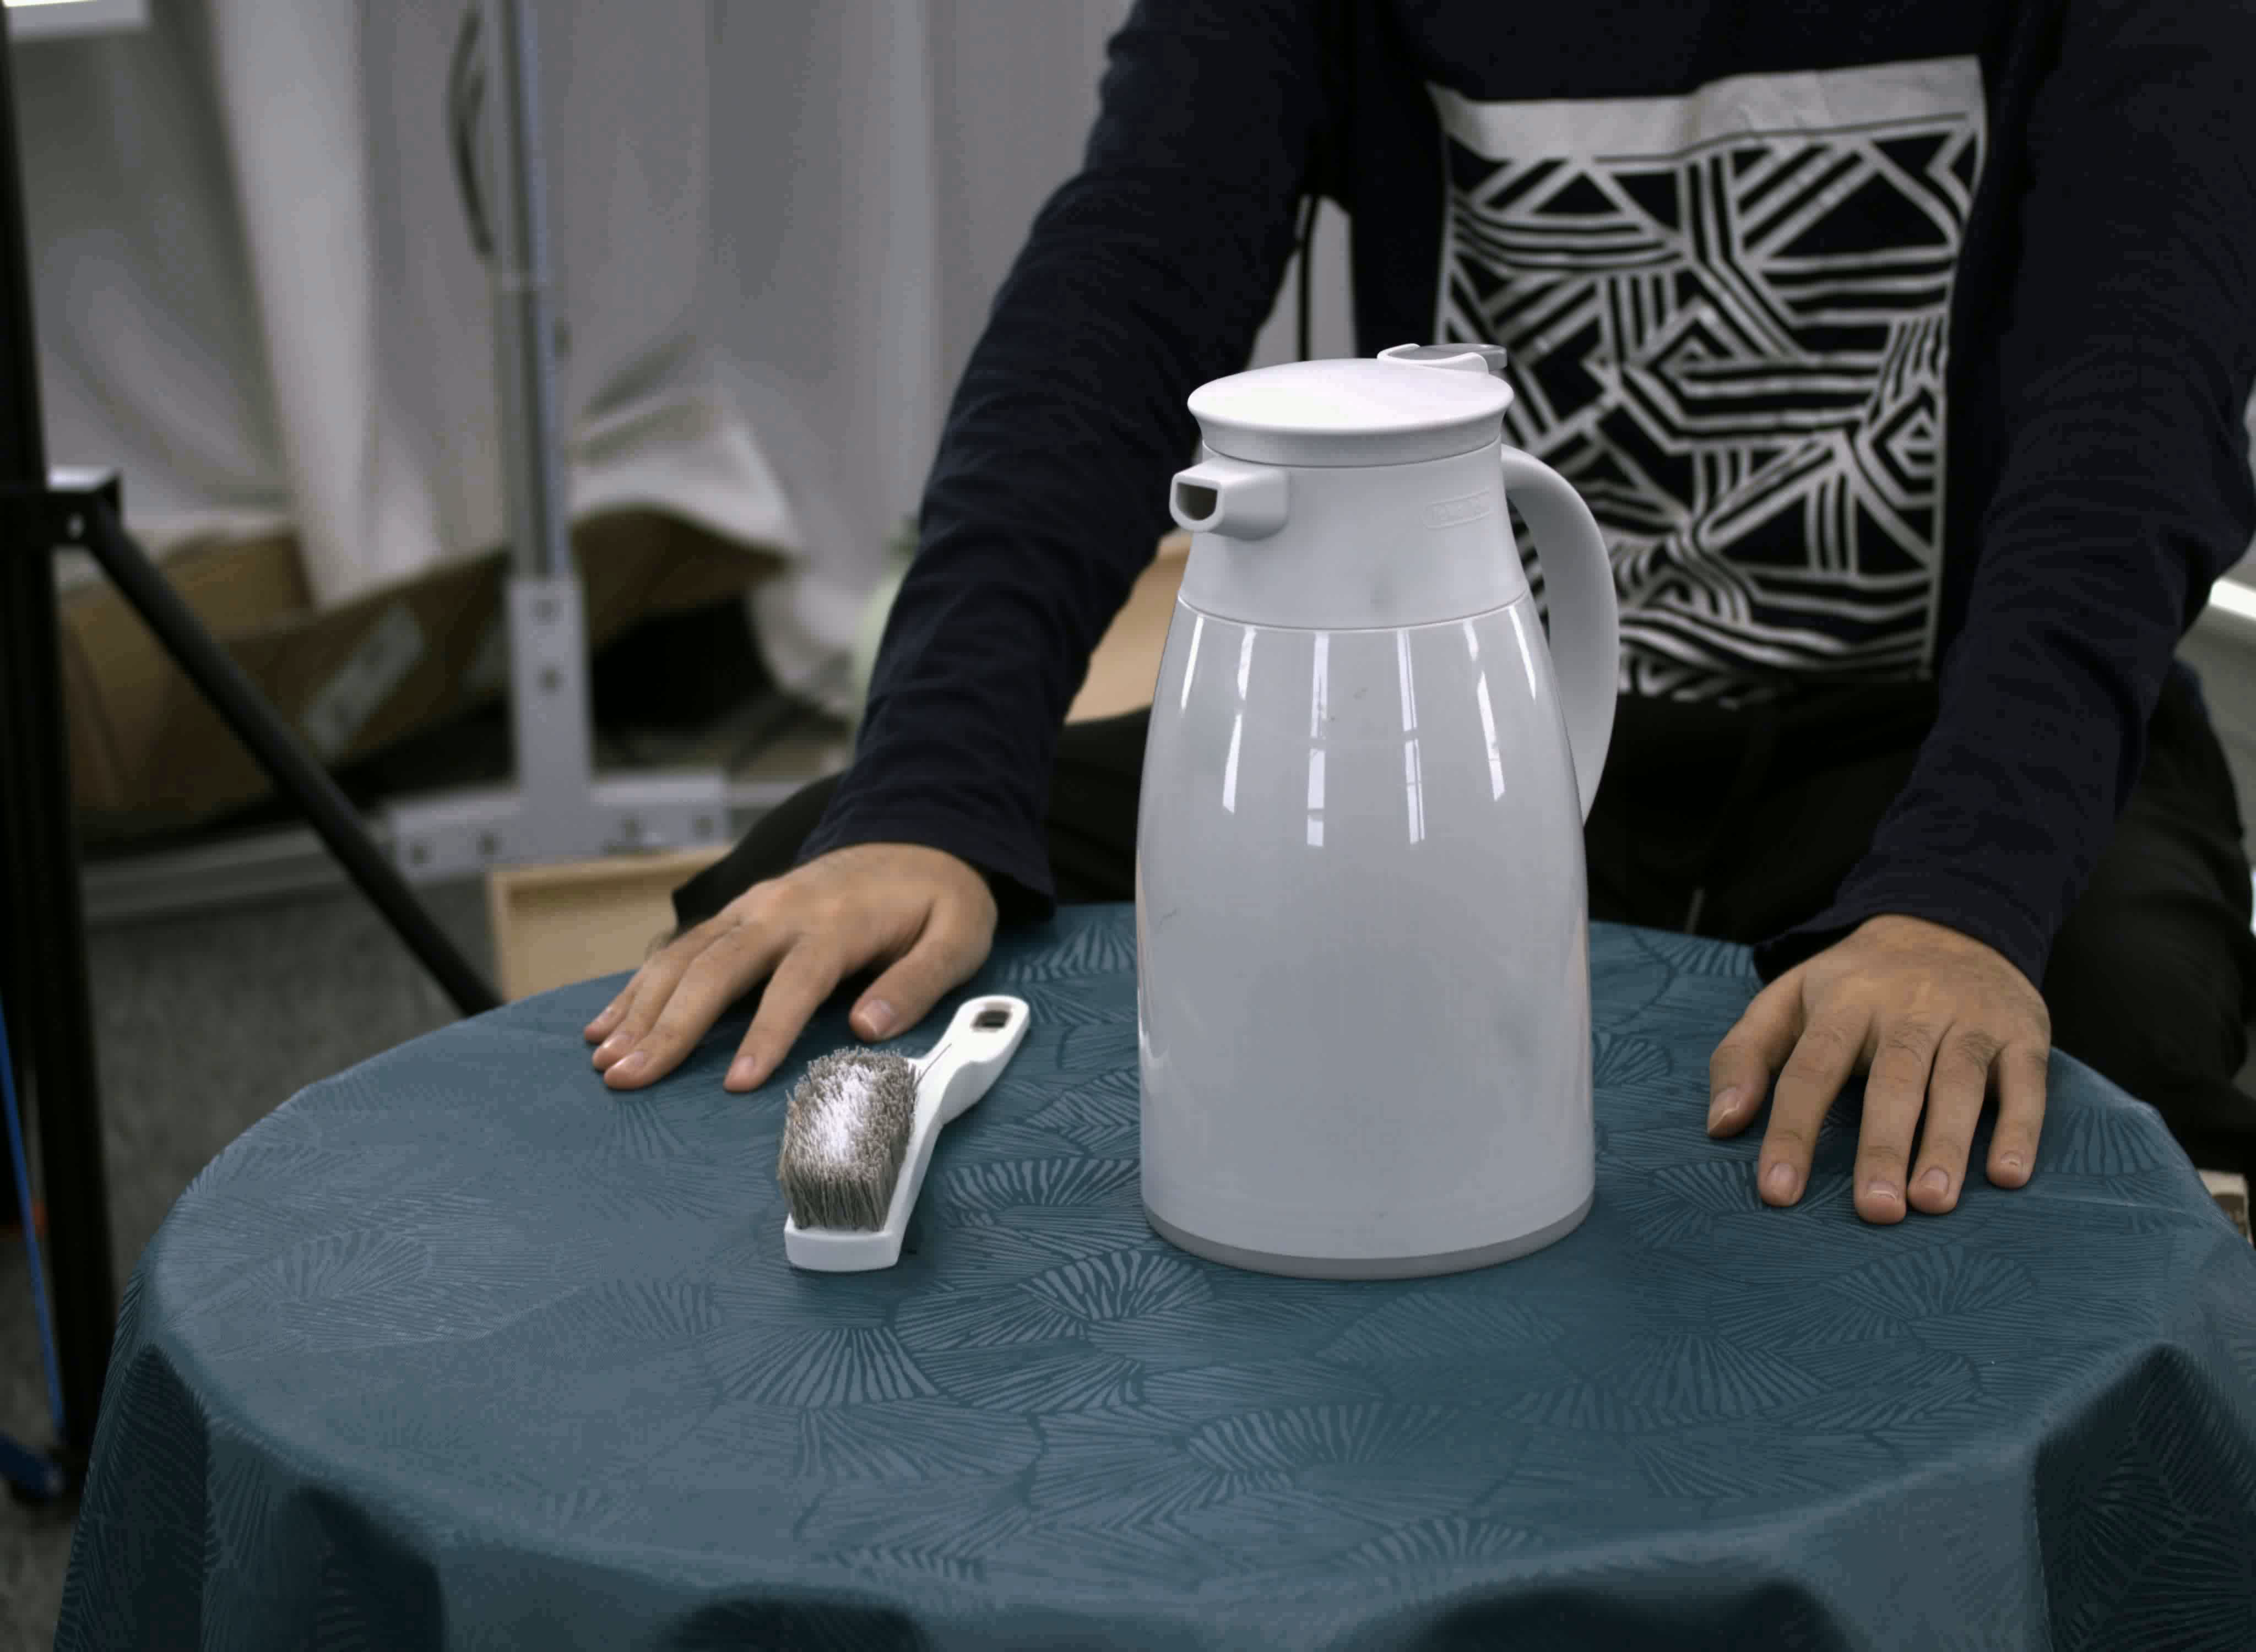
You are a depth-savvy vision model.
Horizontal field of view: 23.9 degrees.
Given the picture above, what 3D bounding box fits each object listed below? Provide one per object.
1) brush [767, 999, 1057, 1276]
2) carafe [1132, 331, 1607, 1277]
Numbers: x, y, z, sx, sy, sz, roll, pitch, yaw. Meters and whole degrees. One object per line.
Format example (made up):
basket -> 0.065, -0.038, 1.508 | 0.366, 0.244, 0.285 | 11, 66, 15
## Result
brush -> -0.061, 0.074, 1.604 | 0.034, 0.050, 0.242 | -3, 15, 14
carafe -> 0.077, -0.014, 1.525 | 0.135, 0.248, 0.164 | 12, 20, 43
